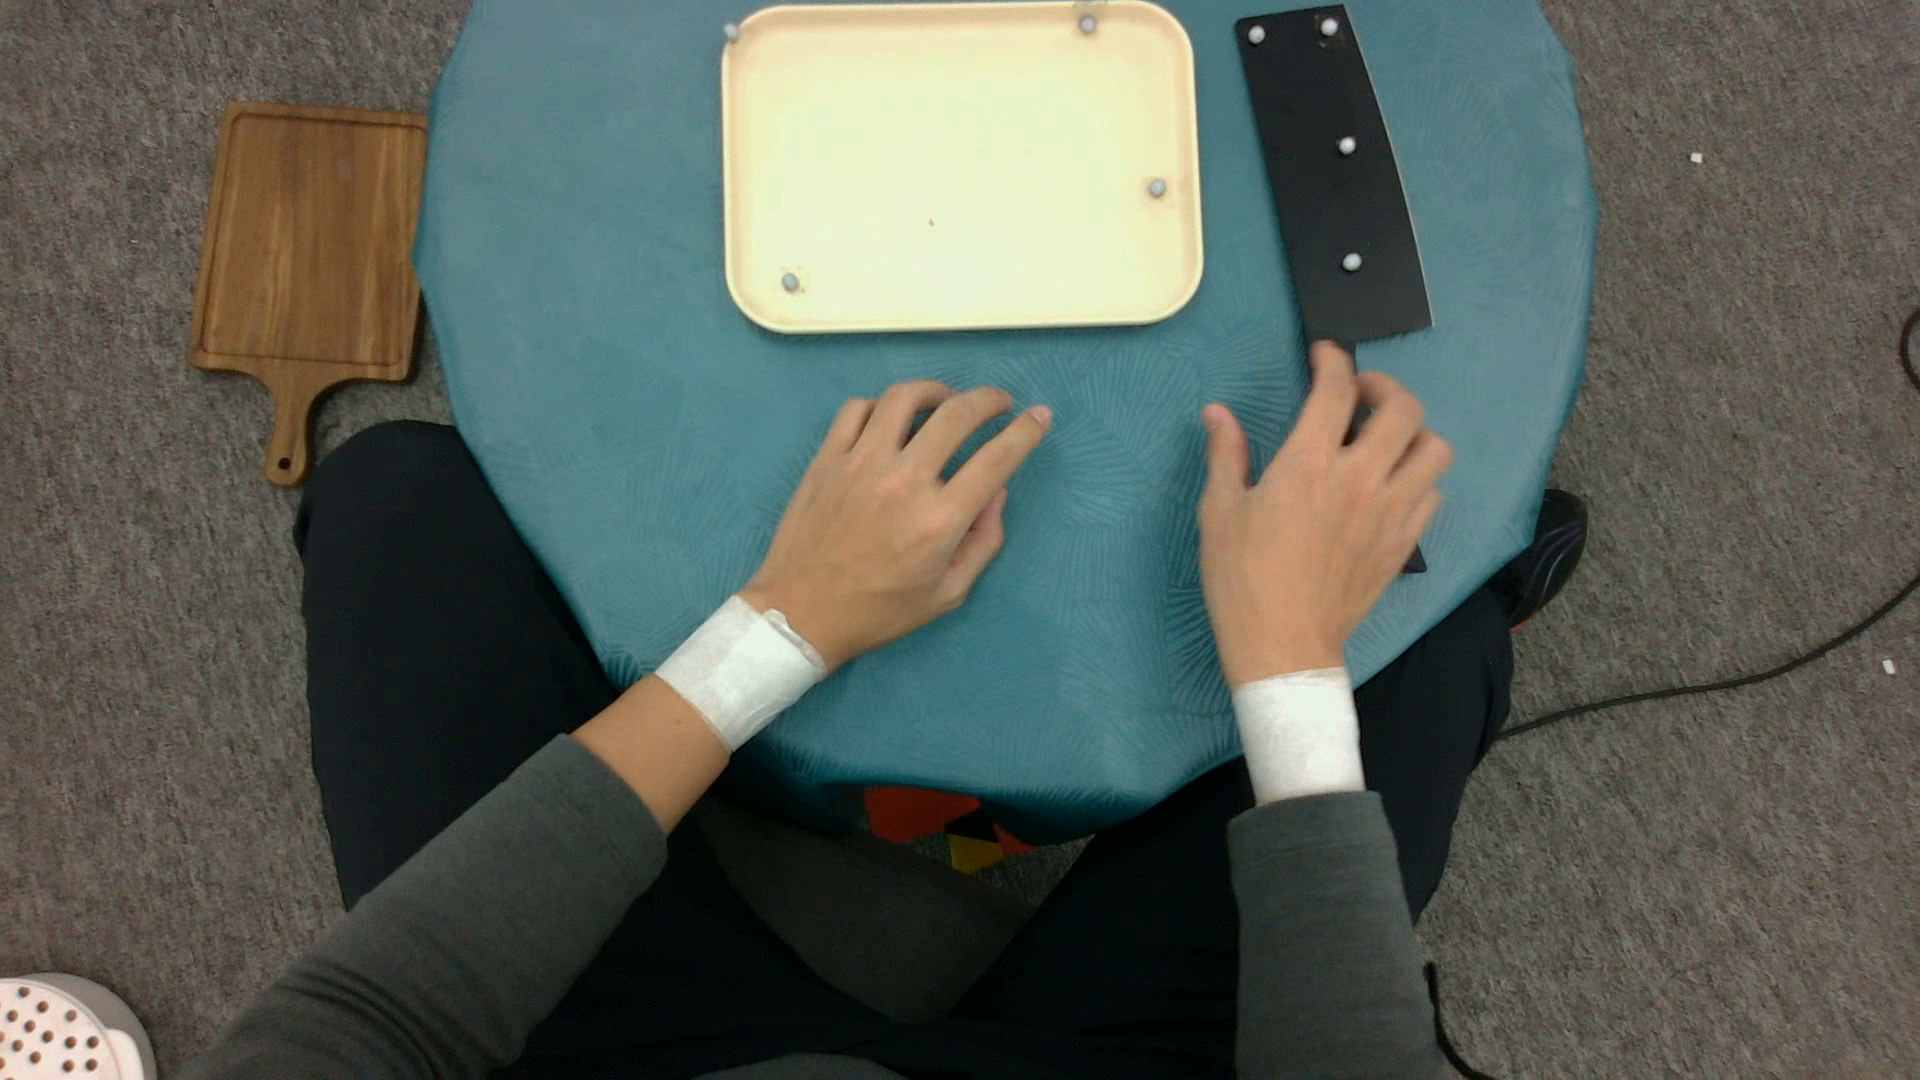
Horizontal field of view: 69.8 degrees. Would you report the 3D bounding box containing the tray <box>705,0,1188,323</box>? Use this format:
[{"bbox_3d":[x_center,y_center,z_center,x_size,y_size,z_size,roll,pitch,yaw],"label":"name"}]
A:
[{"bbox_3d":[-0.007,-0.195,0.700,0.240,0.017,0.171,-2,83,-3],"label":"tray"}]

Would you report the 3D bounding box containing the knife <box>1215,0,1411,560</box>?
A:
[{"bbox_3d":[0.190,-0.138,0.702,0.081,0.021,0.302,-6,81,-5],"label":"knife"}]
